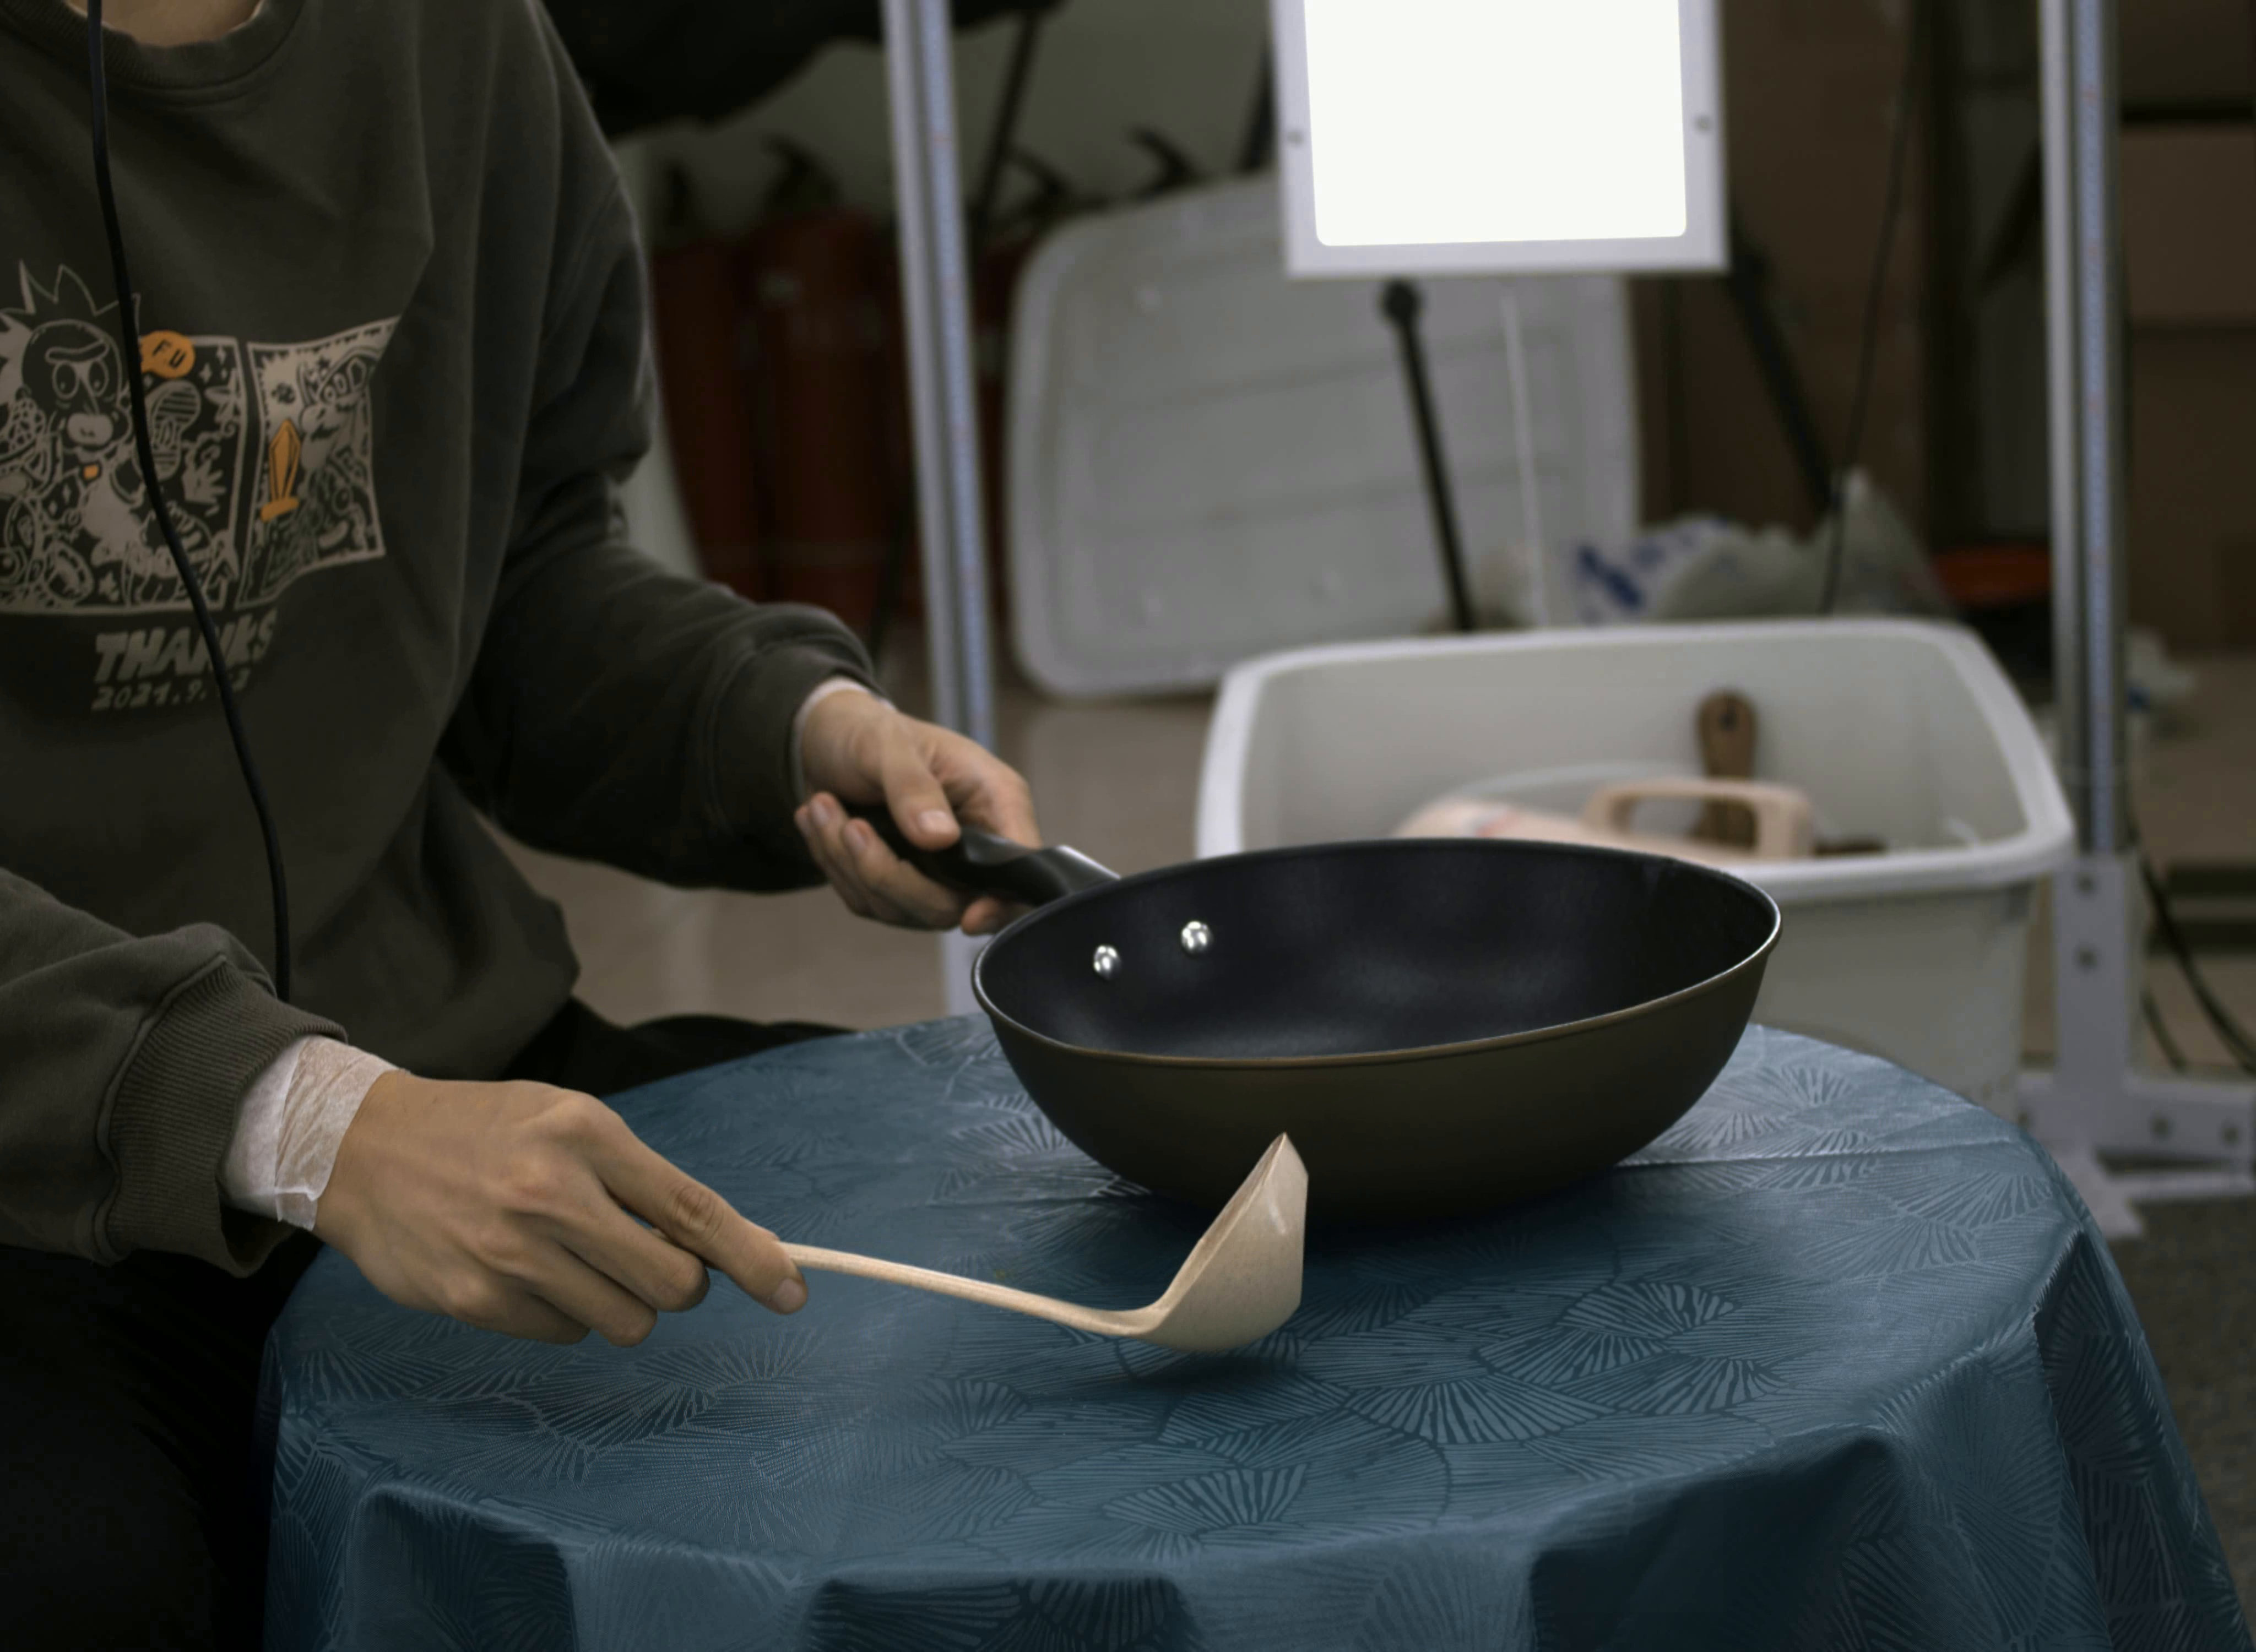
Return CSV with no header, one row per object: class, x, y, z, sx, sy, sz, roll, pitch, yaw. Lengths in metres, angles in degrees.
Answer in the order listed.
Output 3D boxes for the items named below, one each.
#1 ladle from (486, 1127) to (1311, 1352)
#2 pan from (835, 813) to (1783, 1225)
ladle,-0.068,0.112,1.703,0.254,0.073,0.072,9,10,2
pan,0.031,0.063,1.967,0.281,0.087,0.473,-15,16,-35
